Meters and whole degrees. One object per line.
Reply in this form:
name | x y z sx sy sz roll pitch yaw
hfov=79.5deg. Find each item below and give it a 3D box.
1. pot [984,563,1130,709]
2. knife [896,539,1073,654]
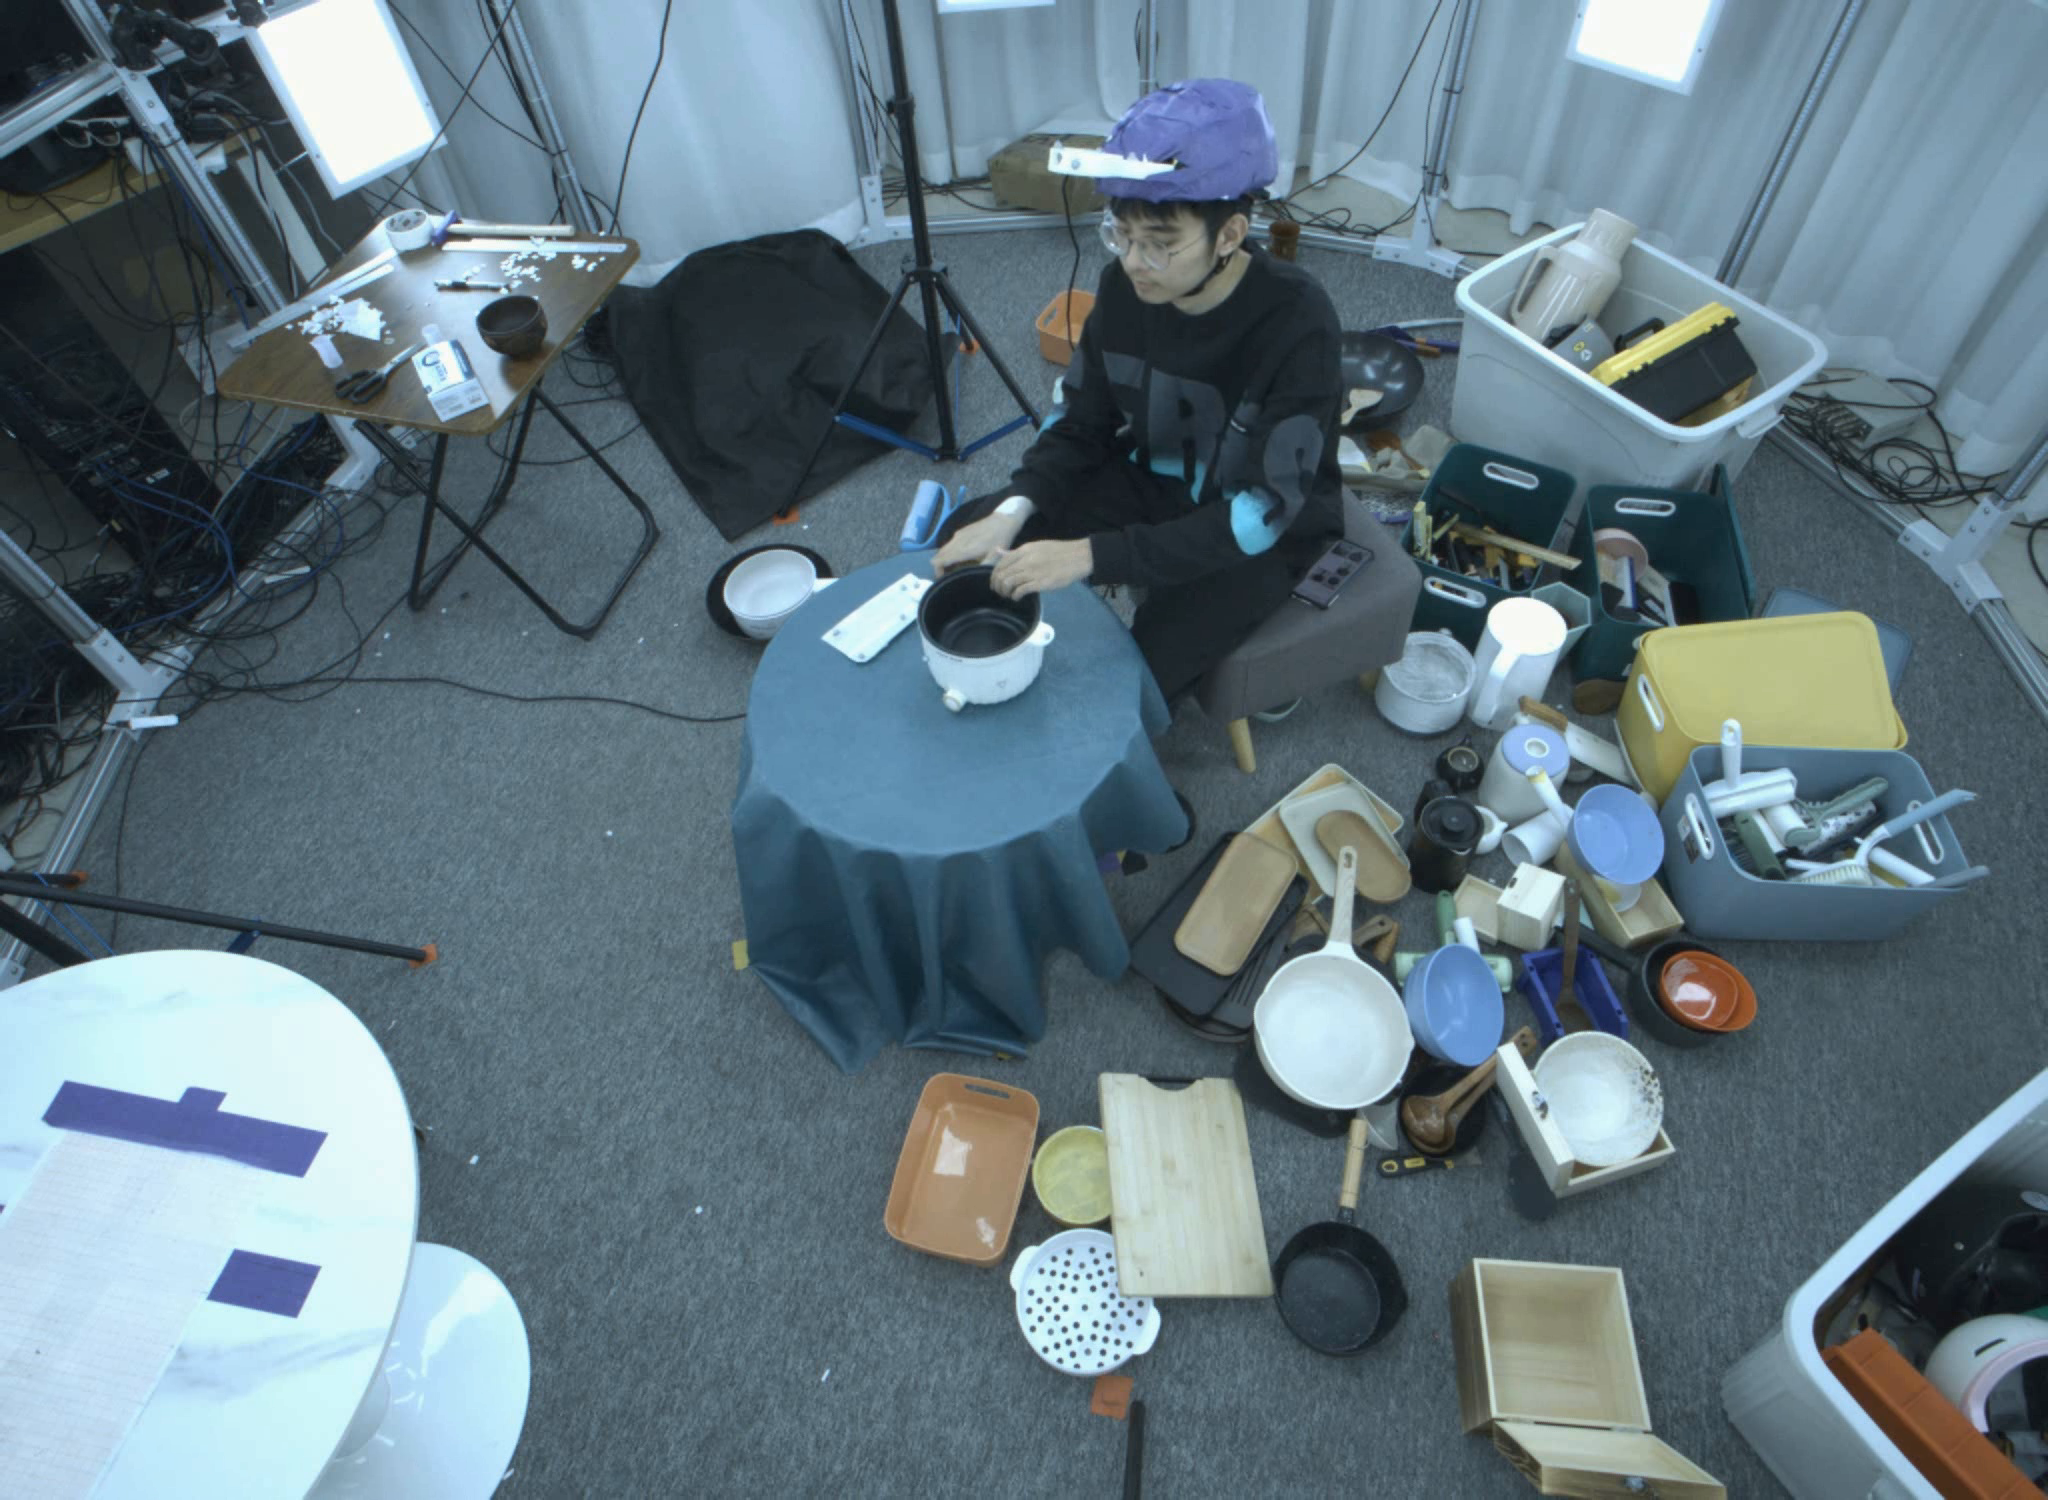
pot | 0.047 -0.160 1.813 0.237 0.144 0.191 26 57 21
knife | -0.054 -0.249 1.952 0.317 0.022 0.111 -33 56 -16
